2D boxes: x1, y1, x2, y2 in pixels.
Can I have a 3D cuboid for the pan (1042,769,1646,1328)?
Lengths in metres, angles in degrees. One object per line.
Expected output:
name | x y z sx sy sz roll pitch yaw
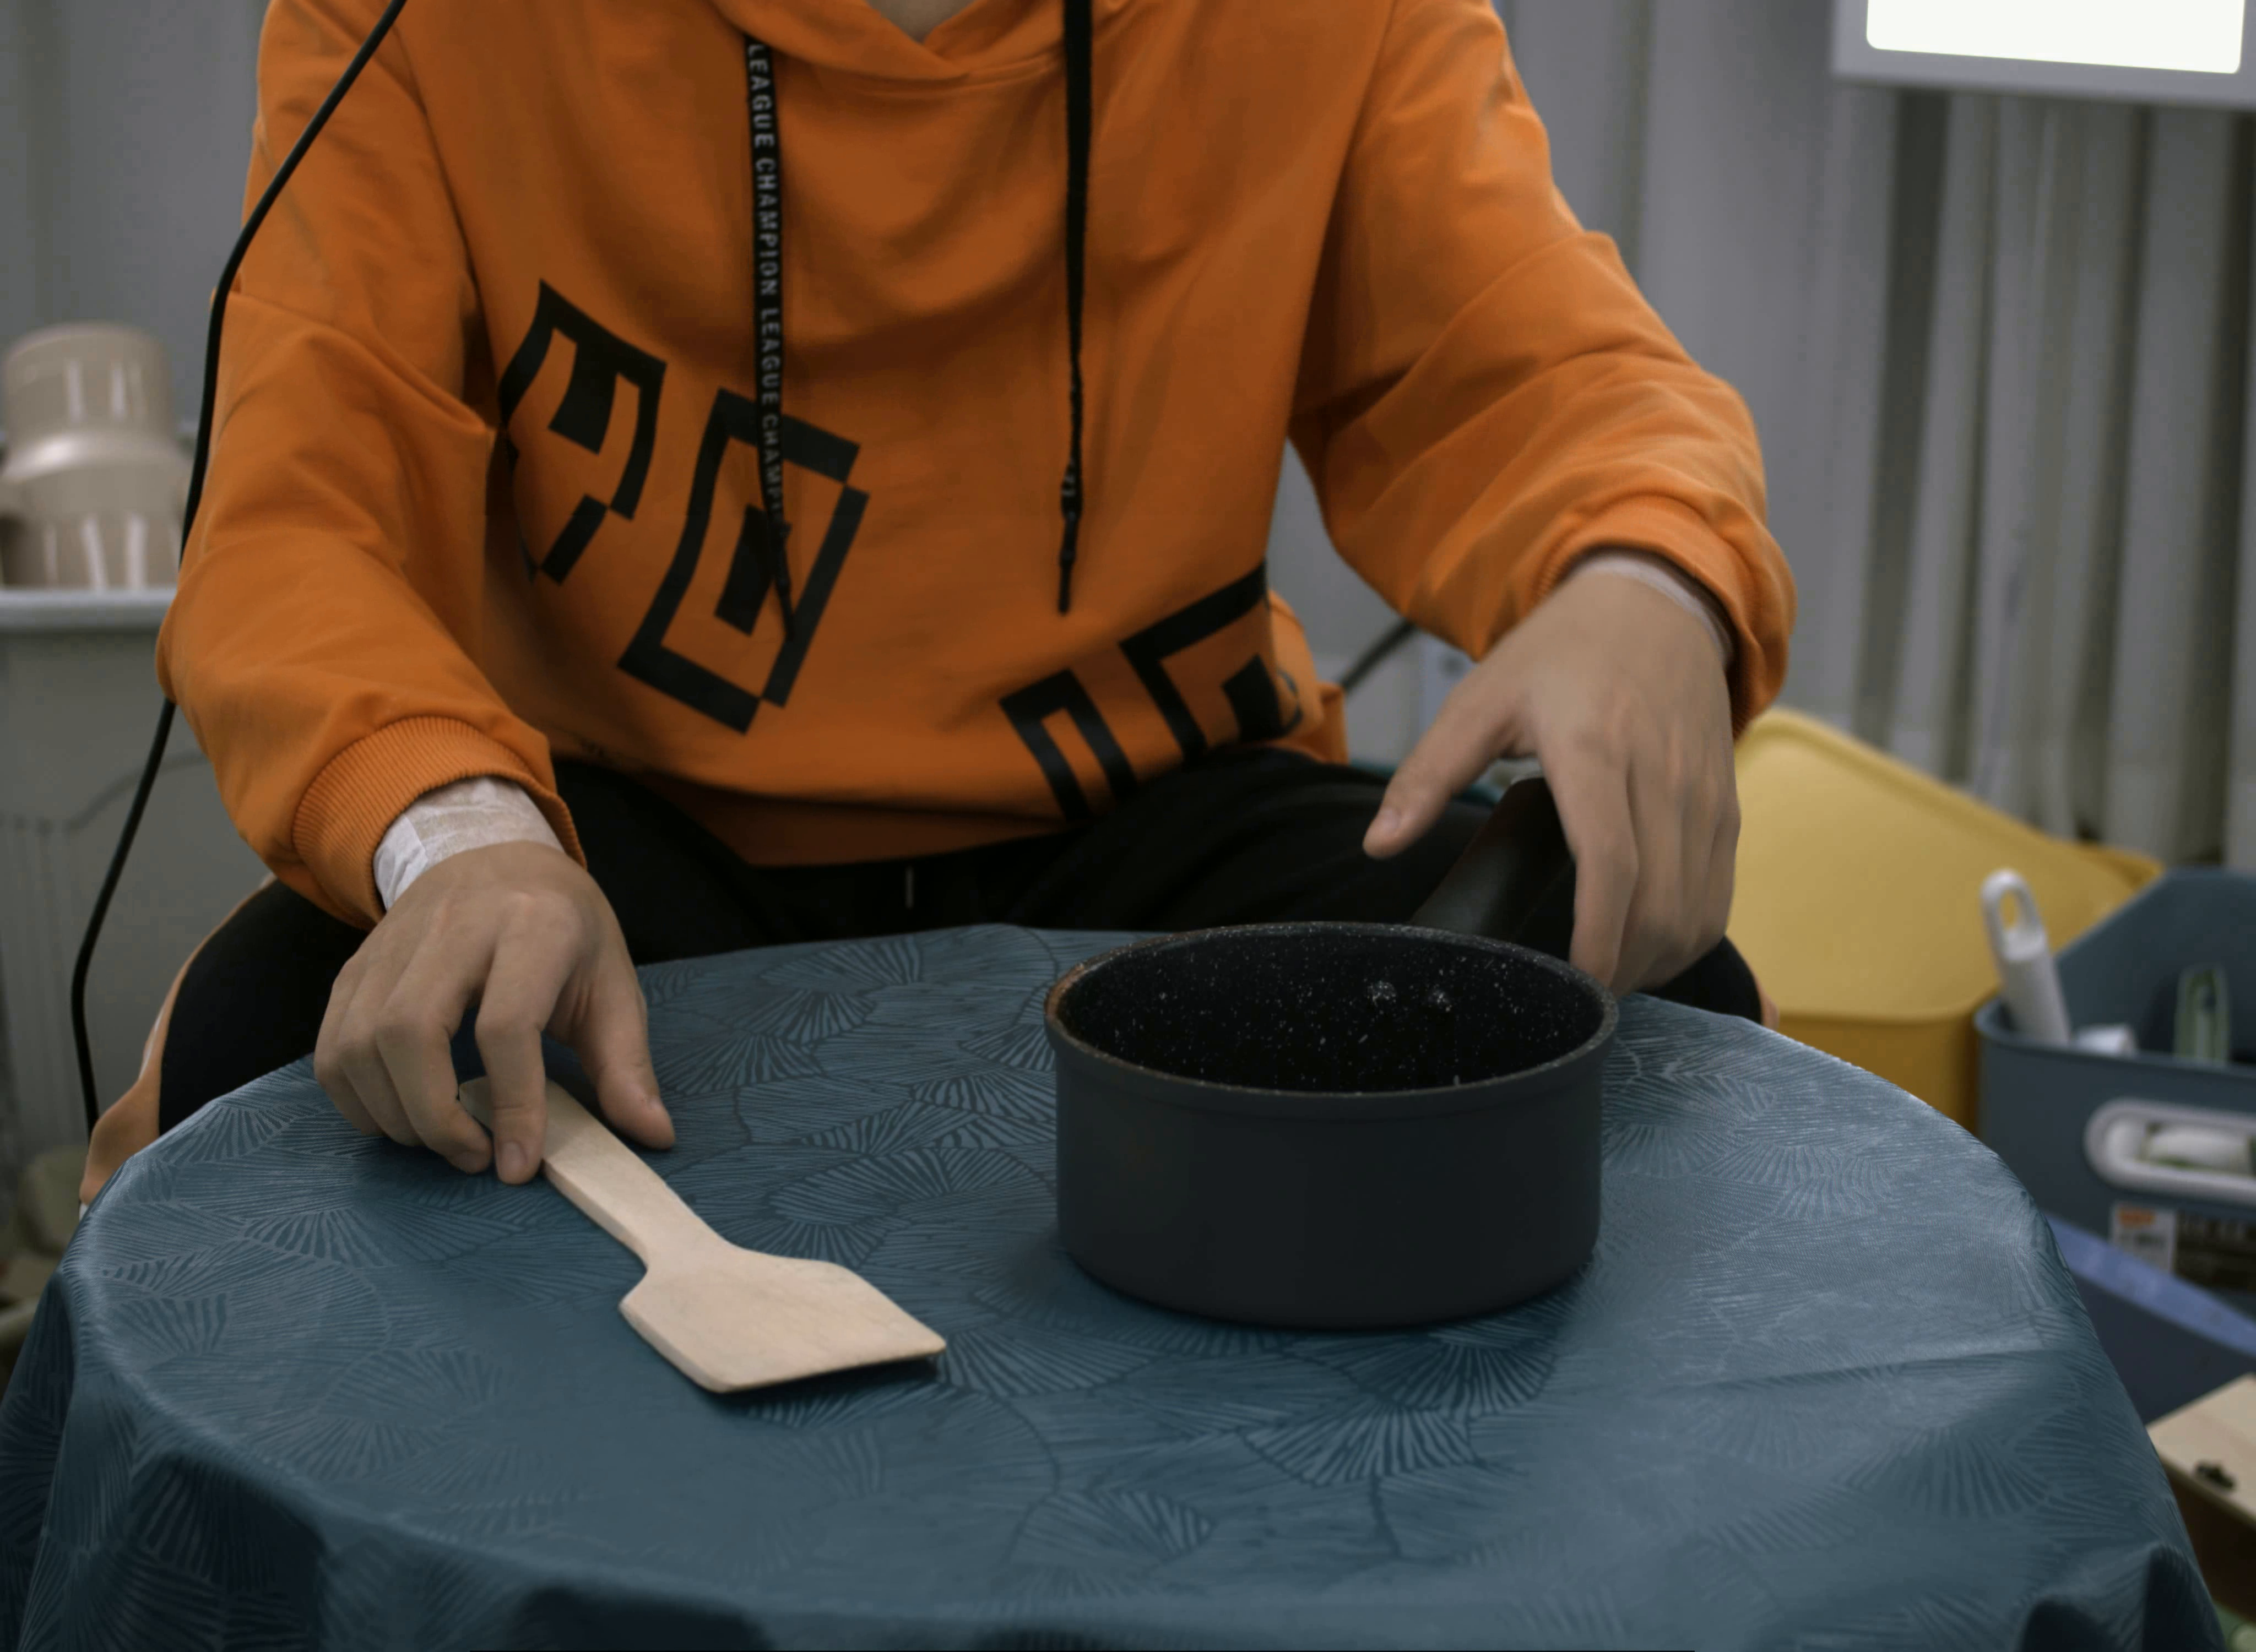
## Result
pan | 0.091 0.065 1.639 0.170 0.087 0.329 8 19 22

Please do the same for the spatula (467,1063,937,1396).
spatula | -0.144 0.117 1.583 0.072 0.011 0.289 -10 19 -23
